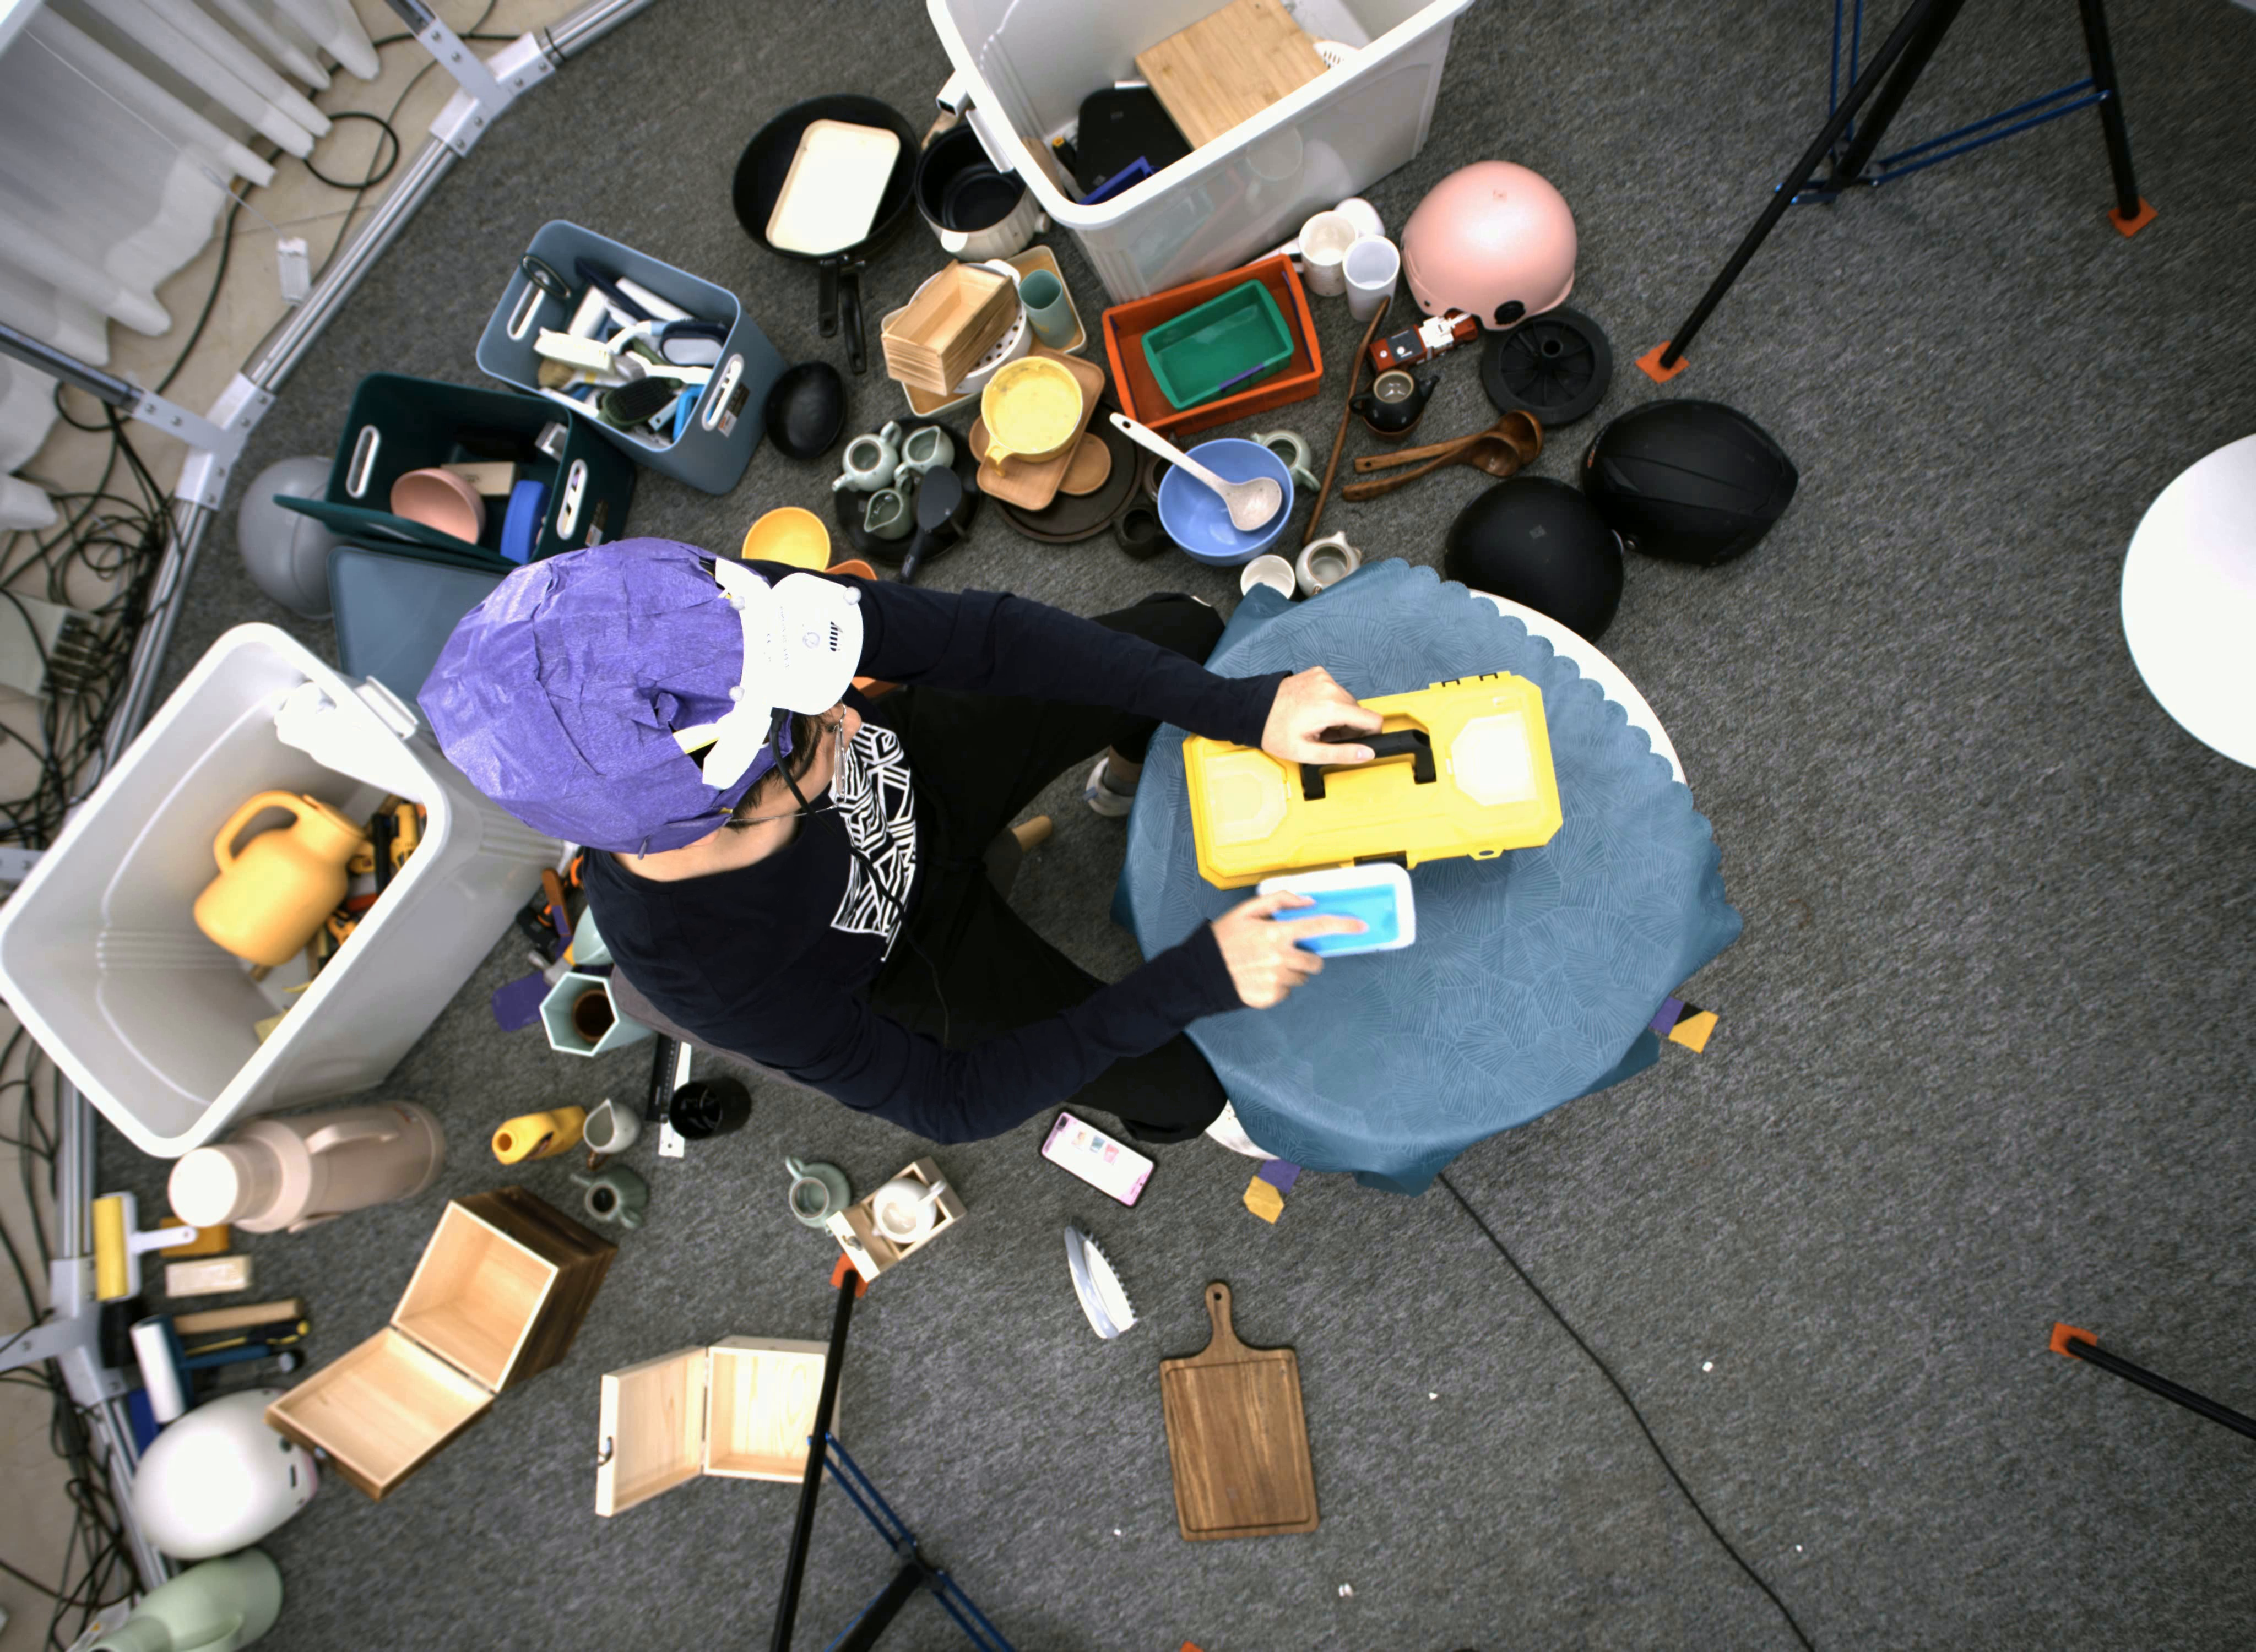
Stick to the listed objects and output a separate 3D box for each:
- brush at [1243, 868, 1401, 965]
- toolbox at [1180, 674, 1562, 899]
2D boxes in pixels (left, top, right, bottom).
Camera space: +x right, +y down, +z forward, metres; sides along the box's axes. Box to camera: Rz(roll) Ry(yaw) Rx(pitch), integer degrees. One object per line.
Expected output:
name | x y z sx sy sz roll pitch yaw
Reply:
brush | 0.179 0.085 1.270 0.144 0.055 0.085 -7 103 5
toolbox | 0.240 -0.036 1.381 0.353 0.173 0.180 -9 84 10
